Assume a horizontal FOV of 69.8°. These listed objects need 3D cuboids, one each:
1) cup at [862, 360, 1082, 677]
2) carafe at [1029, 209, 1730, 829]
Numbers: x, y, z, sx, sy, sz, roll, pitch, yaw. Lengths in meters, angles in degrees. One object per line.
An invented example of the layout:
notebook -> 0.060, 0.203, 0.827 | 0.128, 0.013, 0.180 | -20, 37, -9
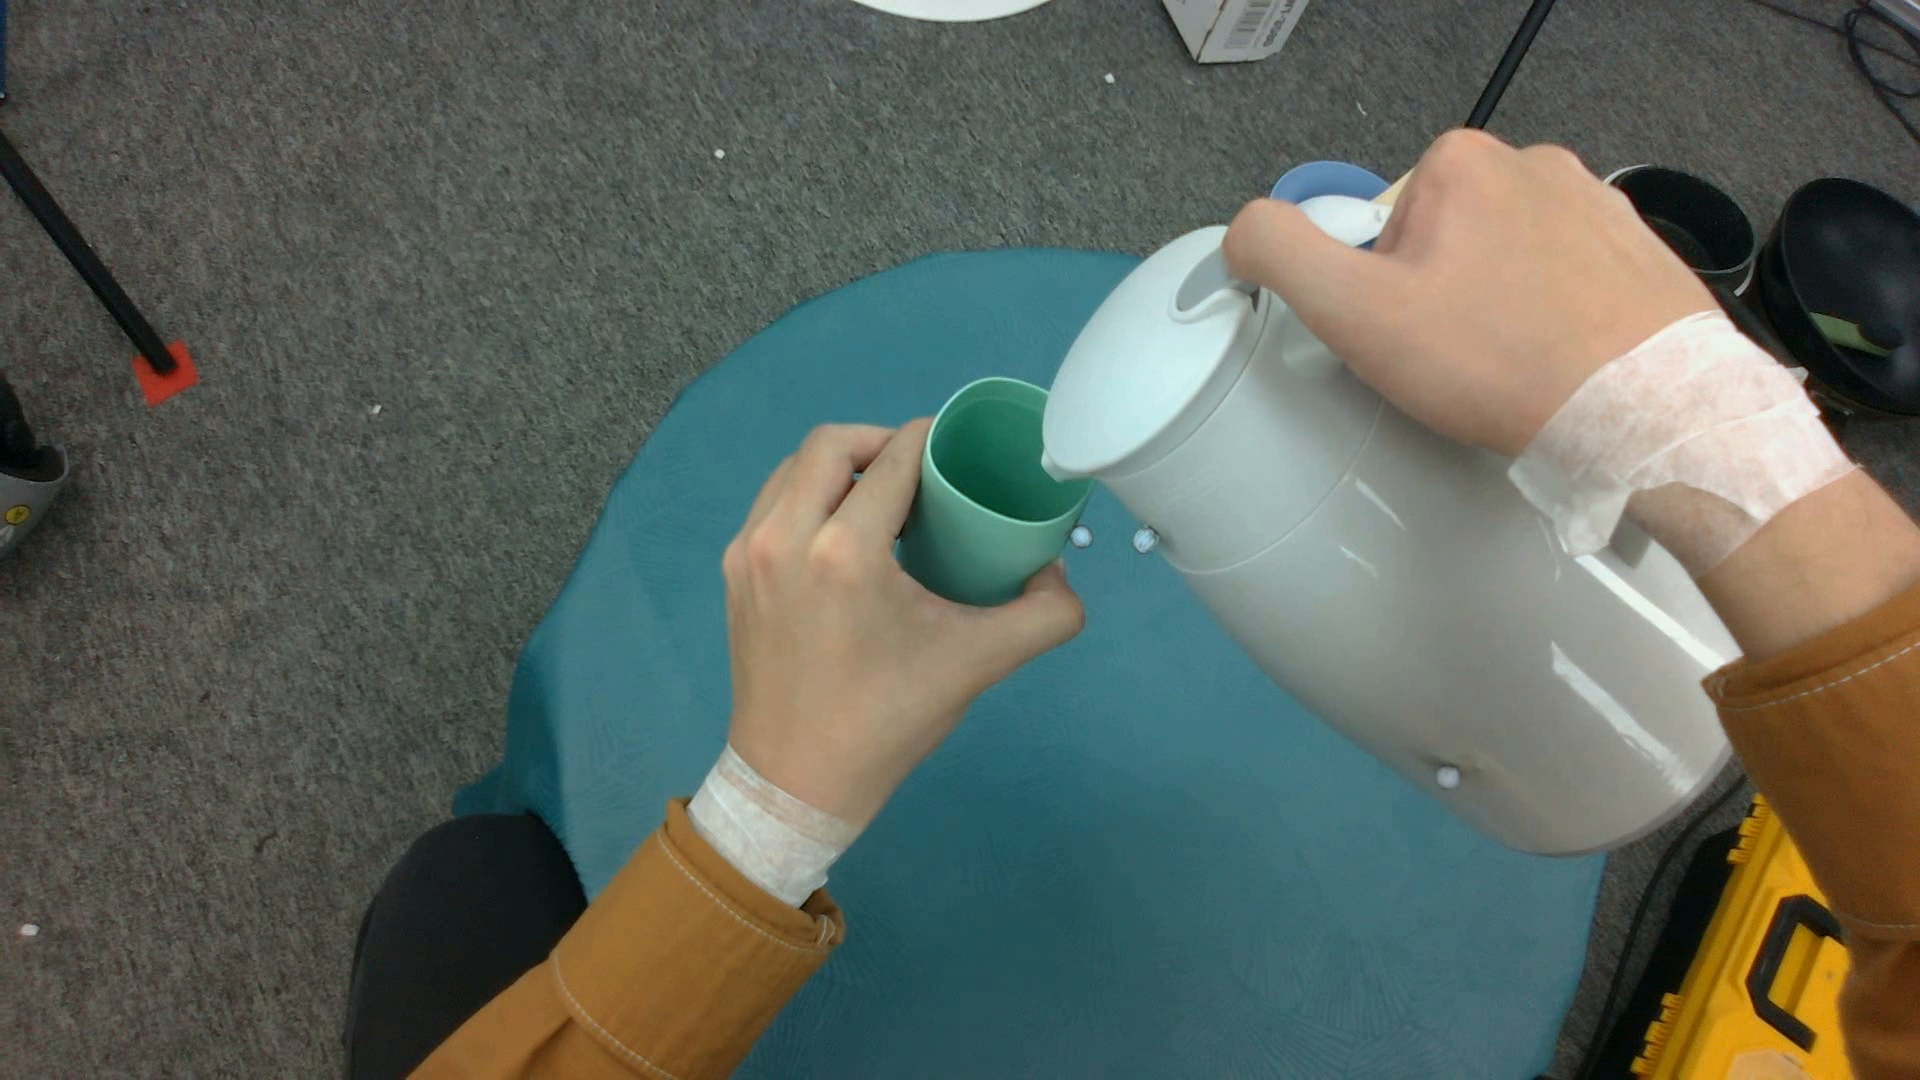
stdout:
cup -> 0.000, -0.003, 0.547 | 0.067, 0.131, 0.067 | 6, 56, -9
carafe -> 0.154, -0.017, 0.472 | 0.248, 0.167, 0.133 | 34, 50, -25
